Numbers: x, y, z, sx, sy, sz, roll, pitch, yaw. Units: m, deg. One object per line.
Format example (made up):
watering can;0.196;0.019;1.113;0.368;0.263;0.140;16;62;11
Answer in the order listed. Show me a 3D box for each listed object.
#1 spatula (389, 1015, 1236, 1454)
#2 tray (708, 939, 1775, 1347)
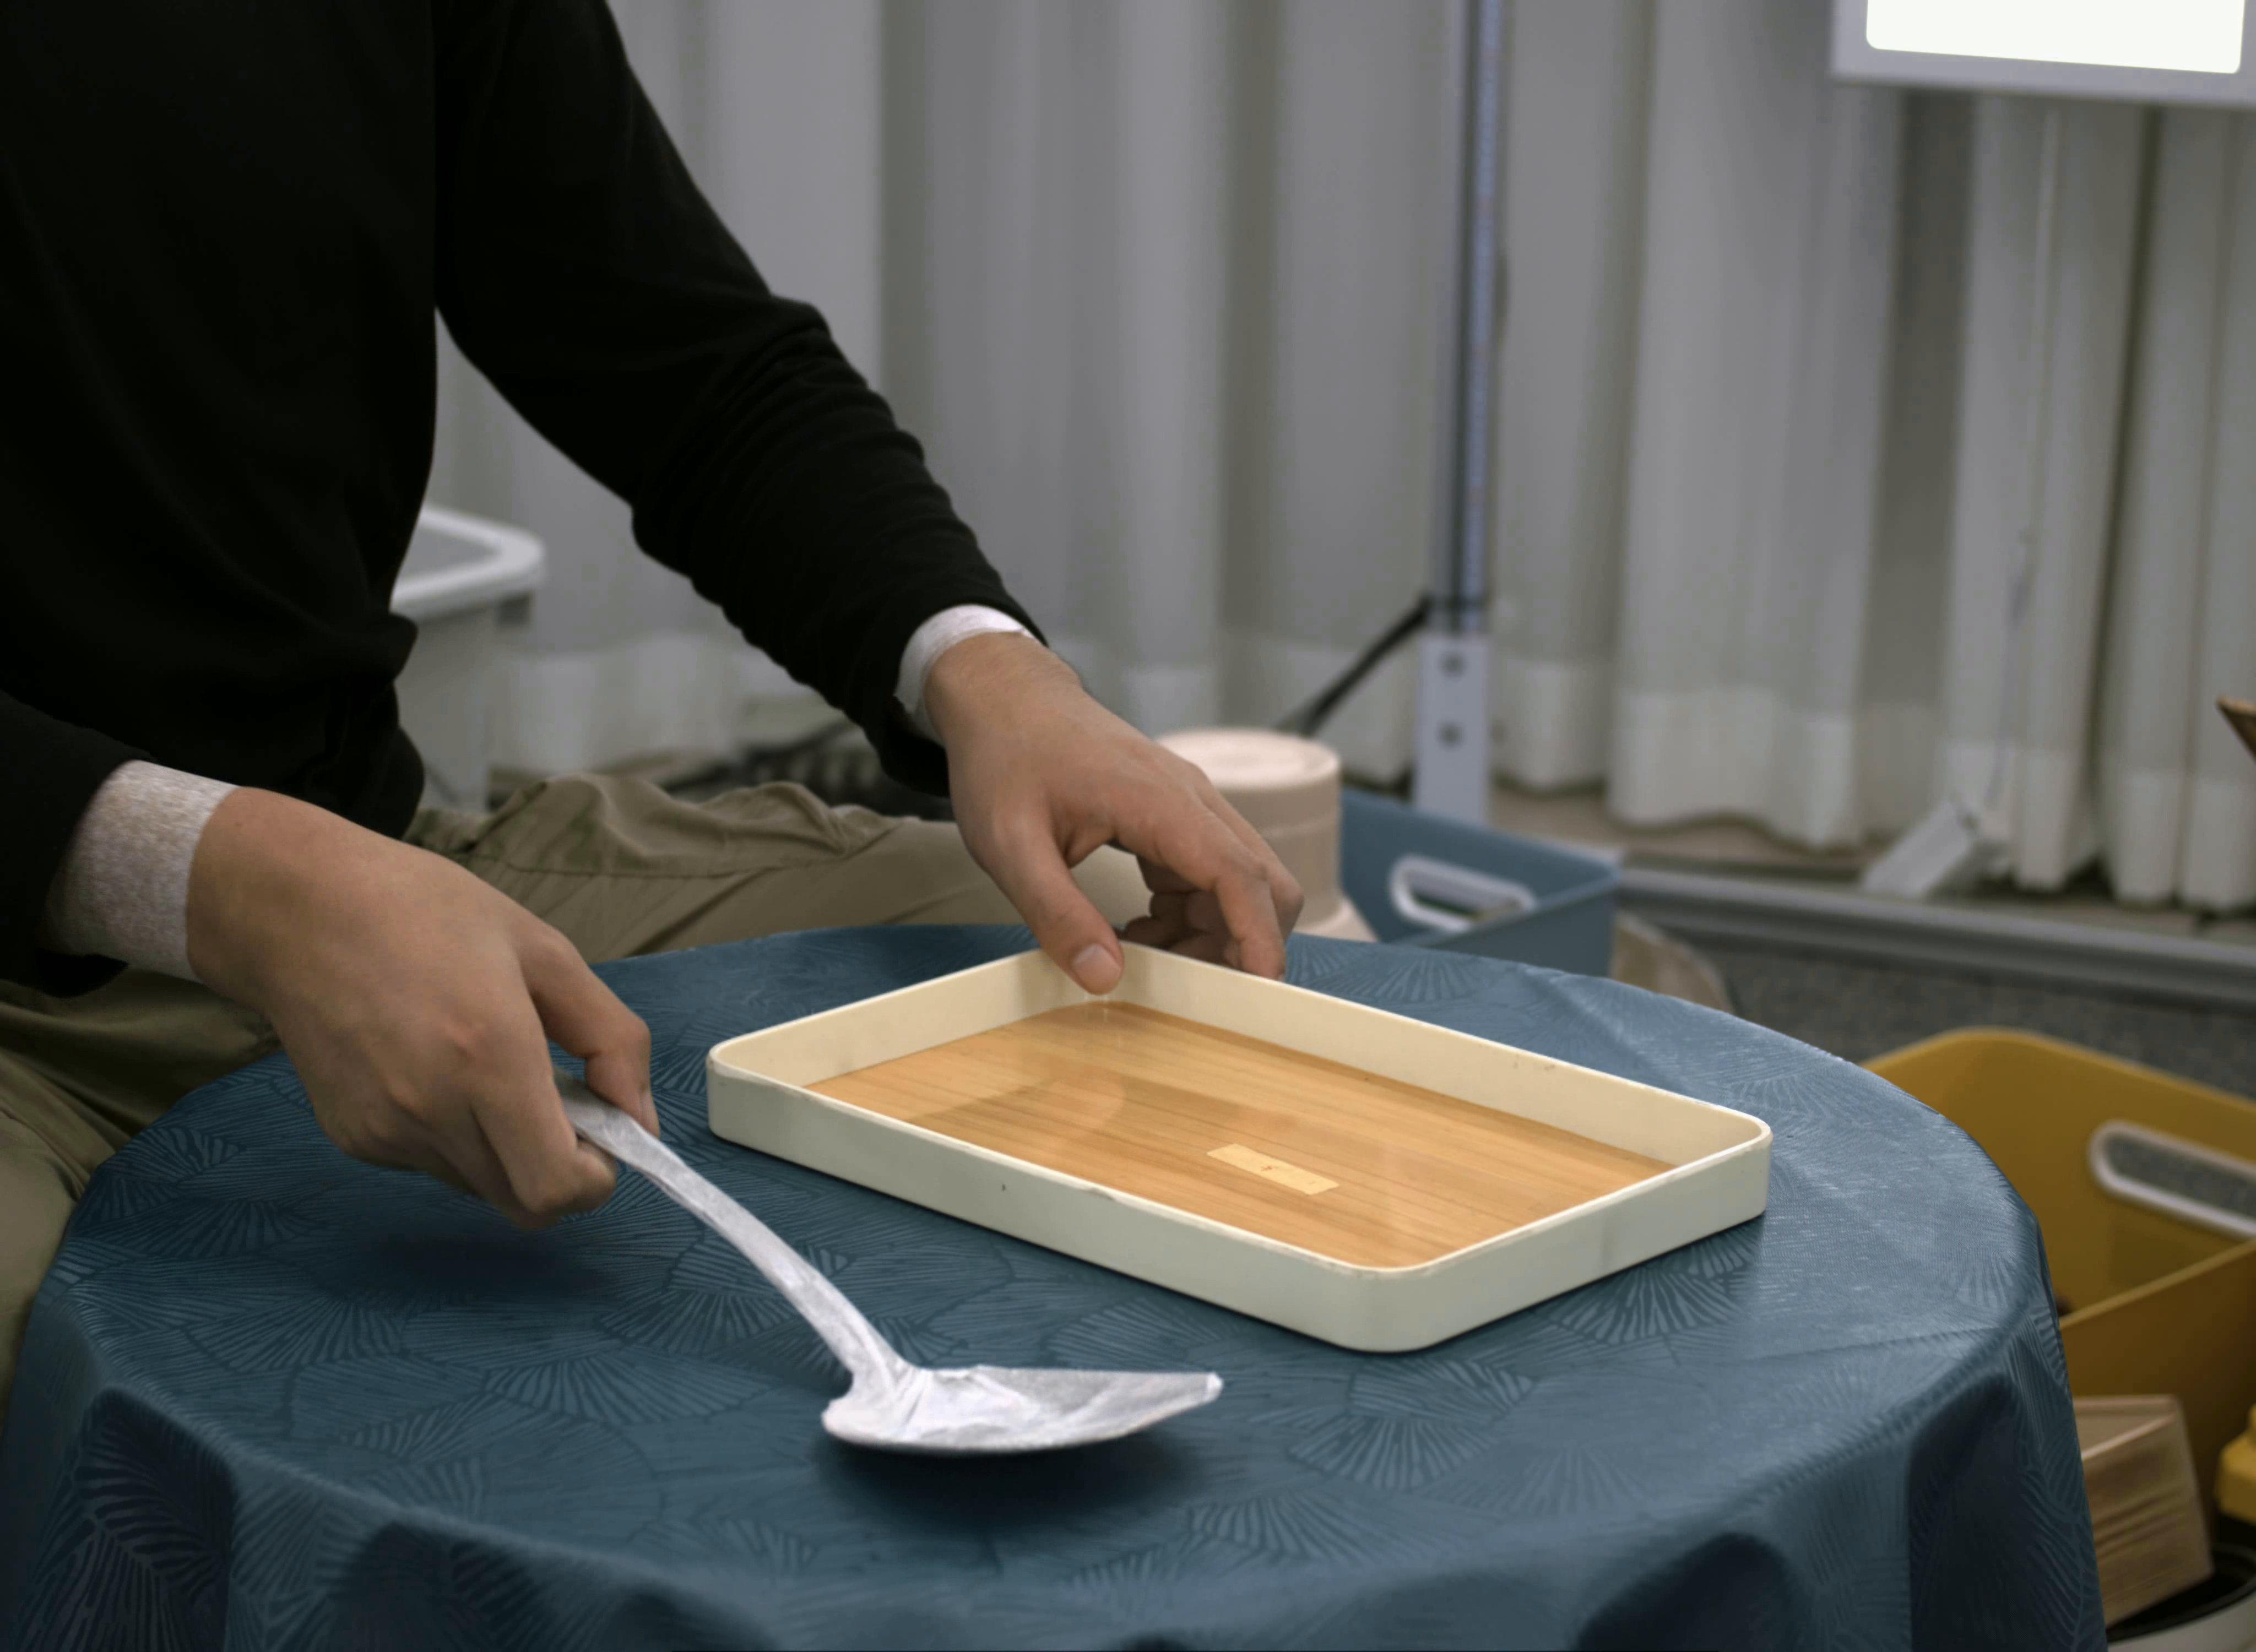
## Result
spatula;-0.114;0.108;1.498;0.099;0.045;0.359;-9;28;-40
tray;0.032;0.094;1.638;0.296;0.027;0.192;15;21;42
